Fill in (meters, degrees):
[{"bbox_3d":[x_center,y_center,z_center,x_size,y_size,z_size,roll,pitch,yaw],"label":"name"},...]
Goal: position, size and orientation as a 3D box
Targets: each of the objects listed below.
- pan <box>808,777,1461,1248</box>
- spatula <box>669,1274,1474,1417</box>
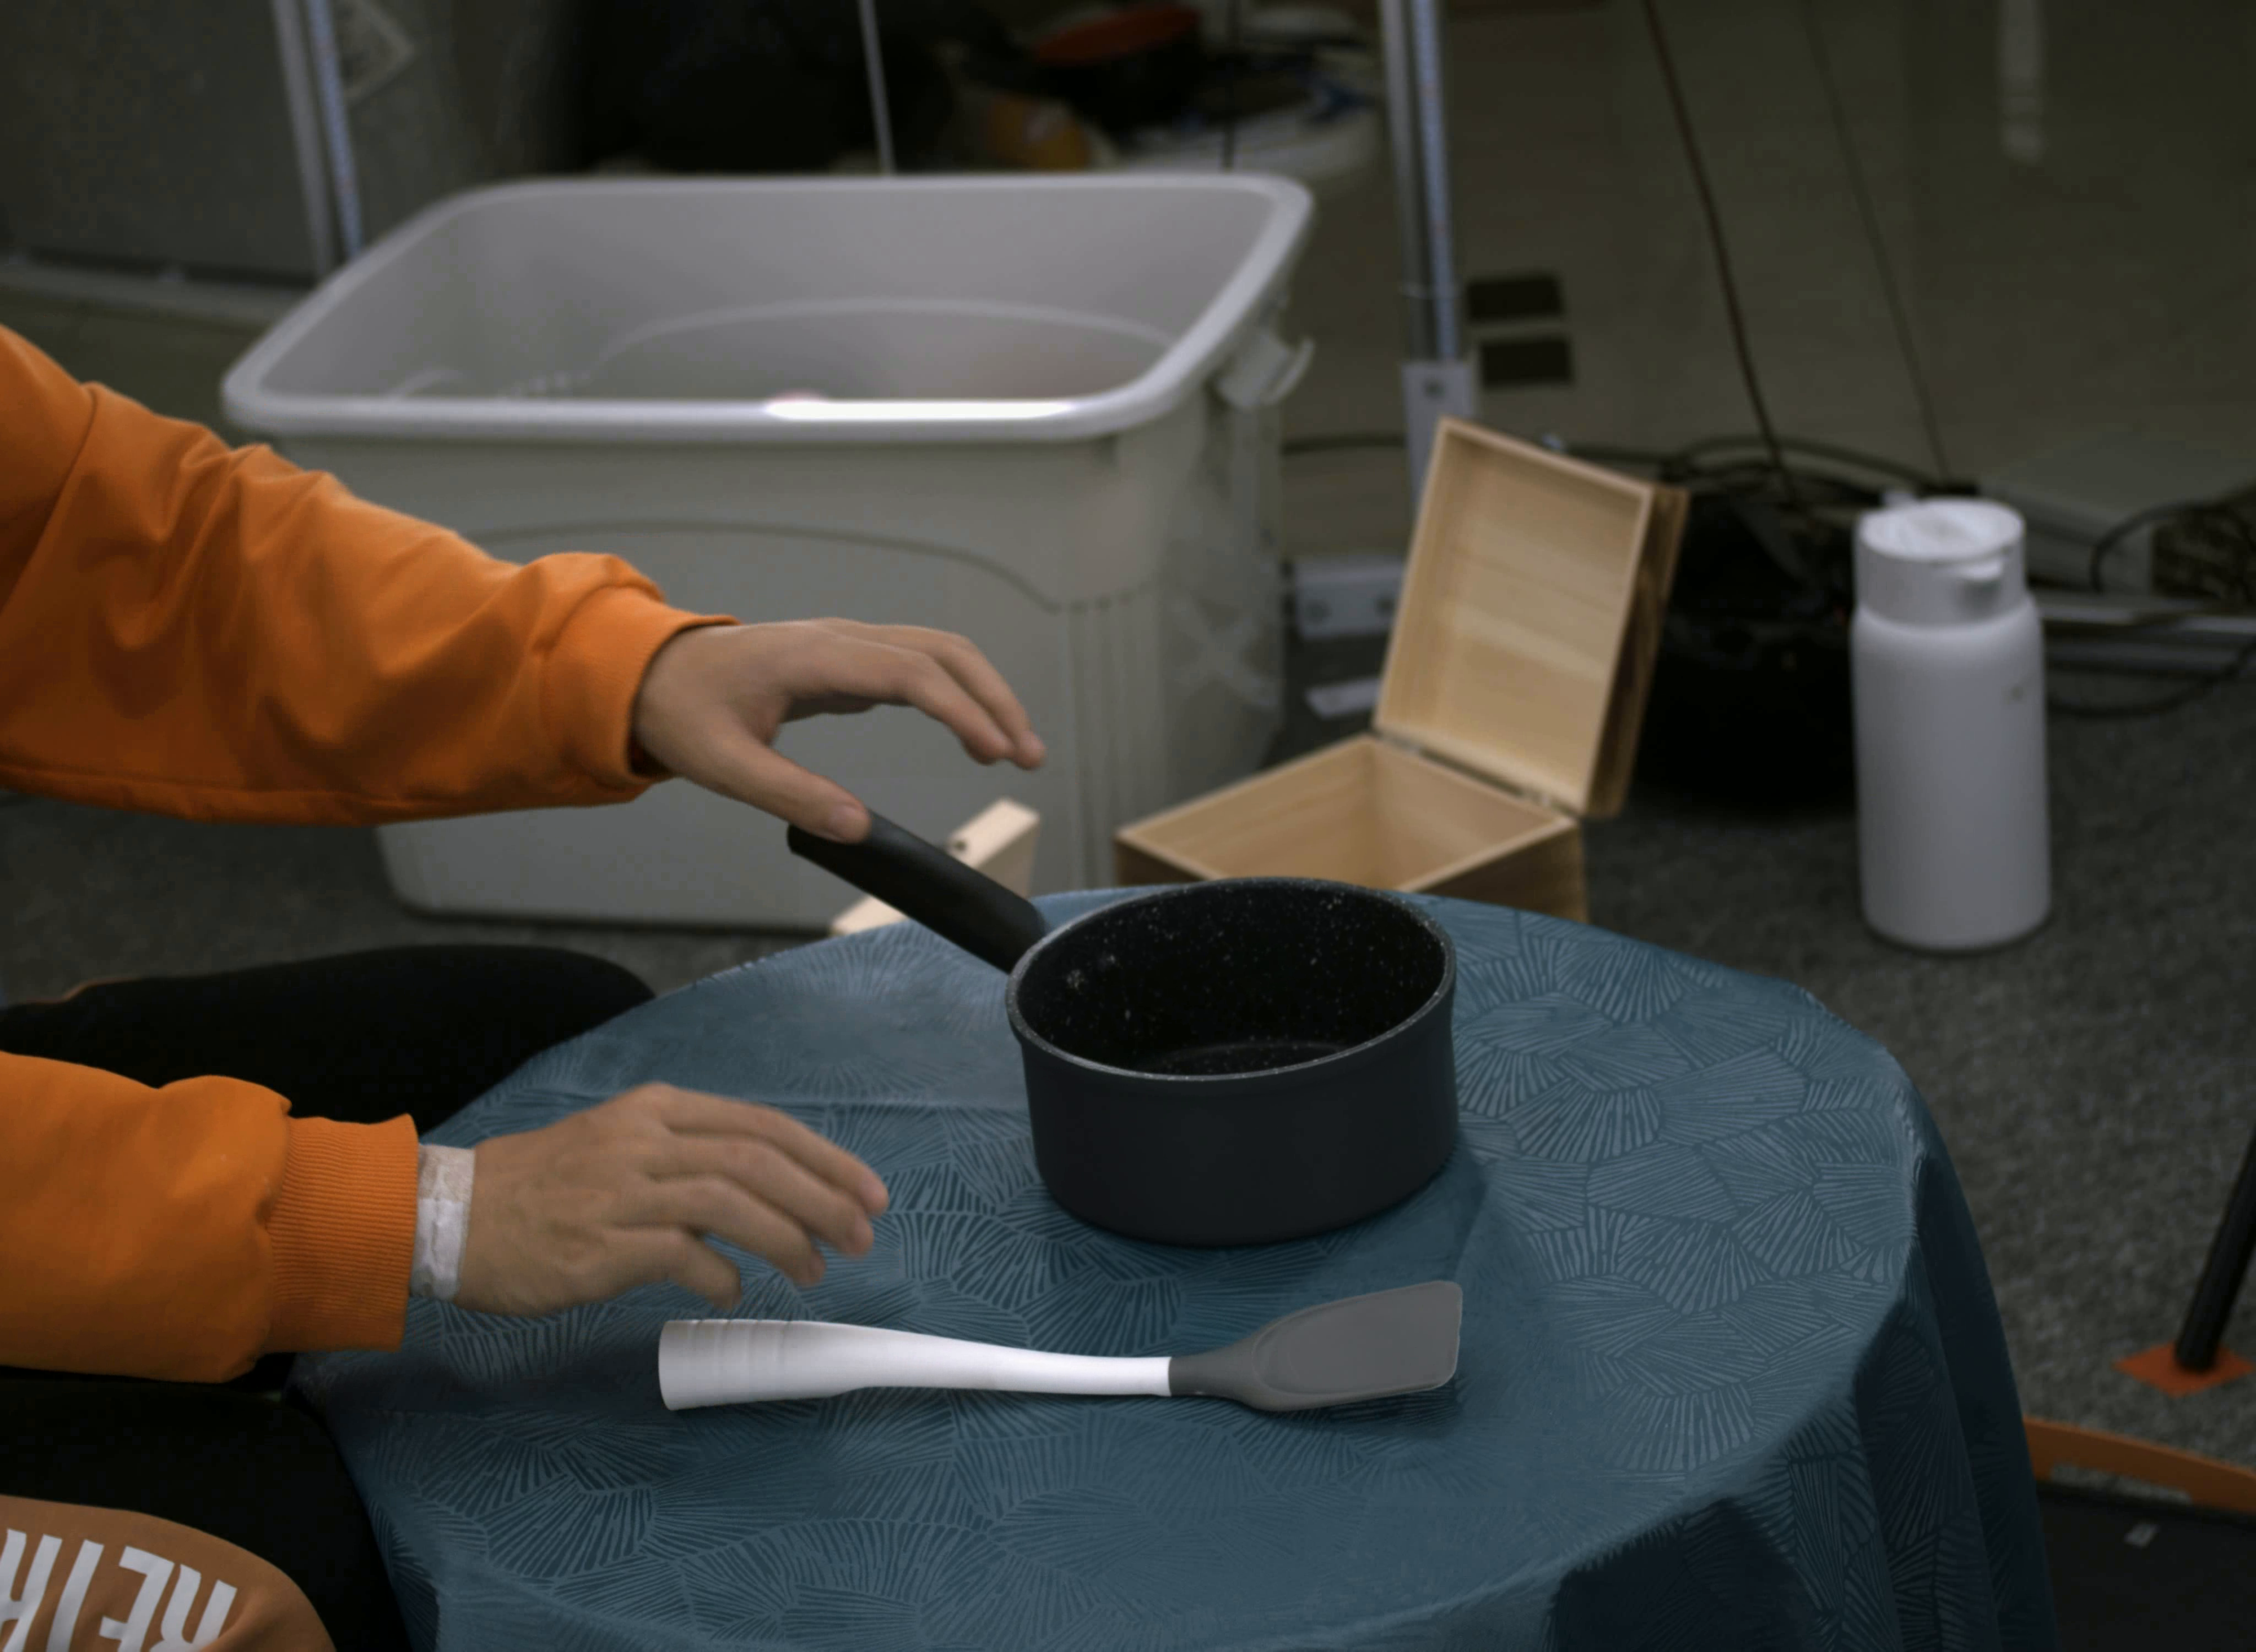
[{"bbox_3d":[-0.011,0.066,2.204,0.170,0.088,0.326,-24,32,-35],"label":"pan"},{"bbox_3d":[-0.020,0.188,2.008,0.287,0.033,0.057,-3,38,10],"label":"spatula"}]
